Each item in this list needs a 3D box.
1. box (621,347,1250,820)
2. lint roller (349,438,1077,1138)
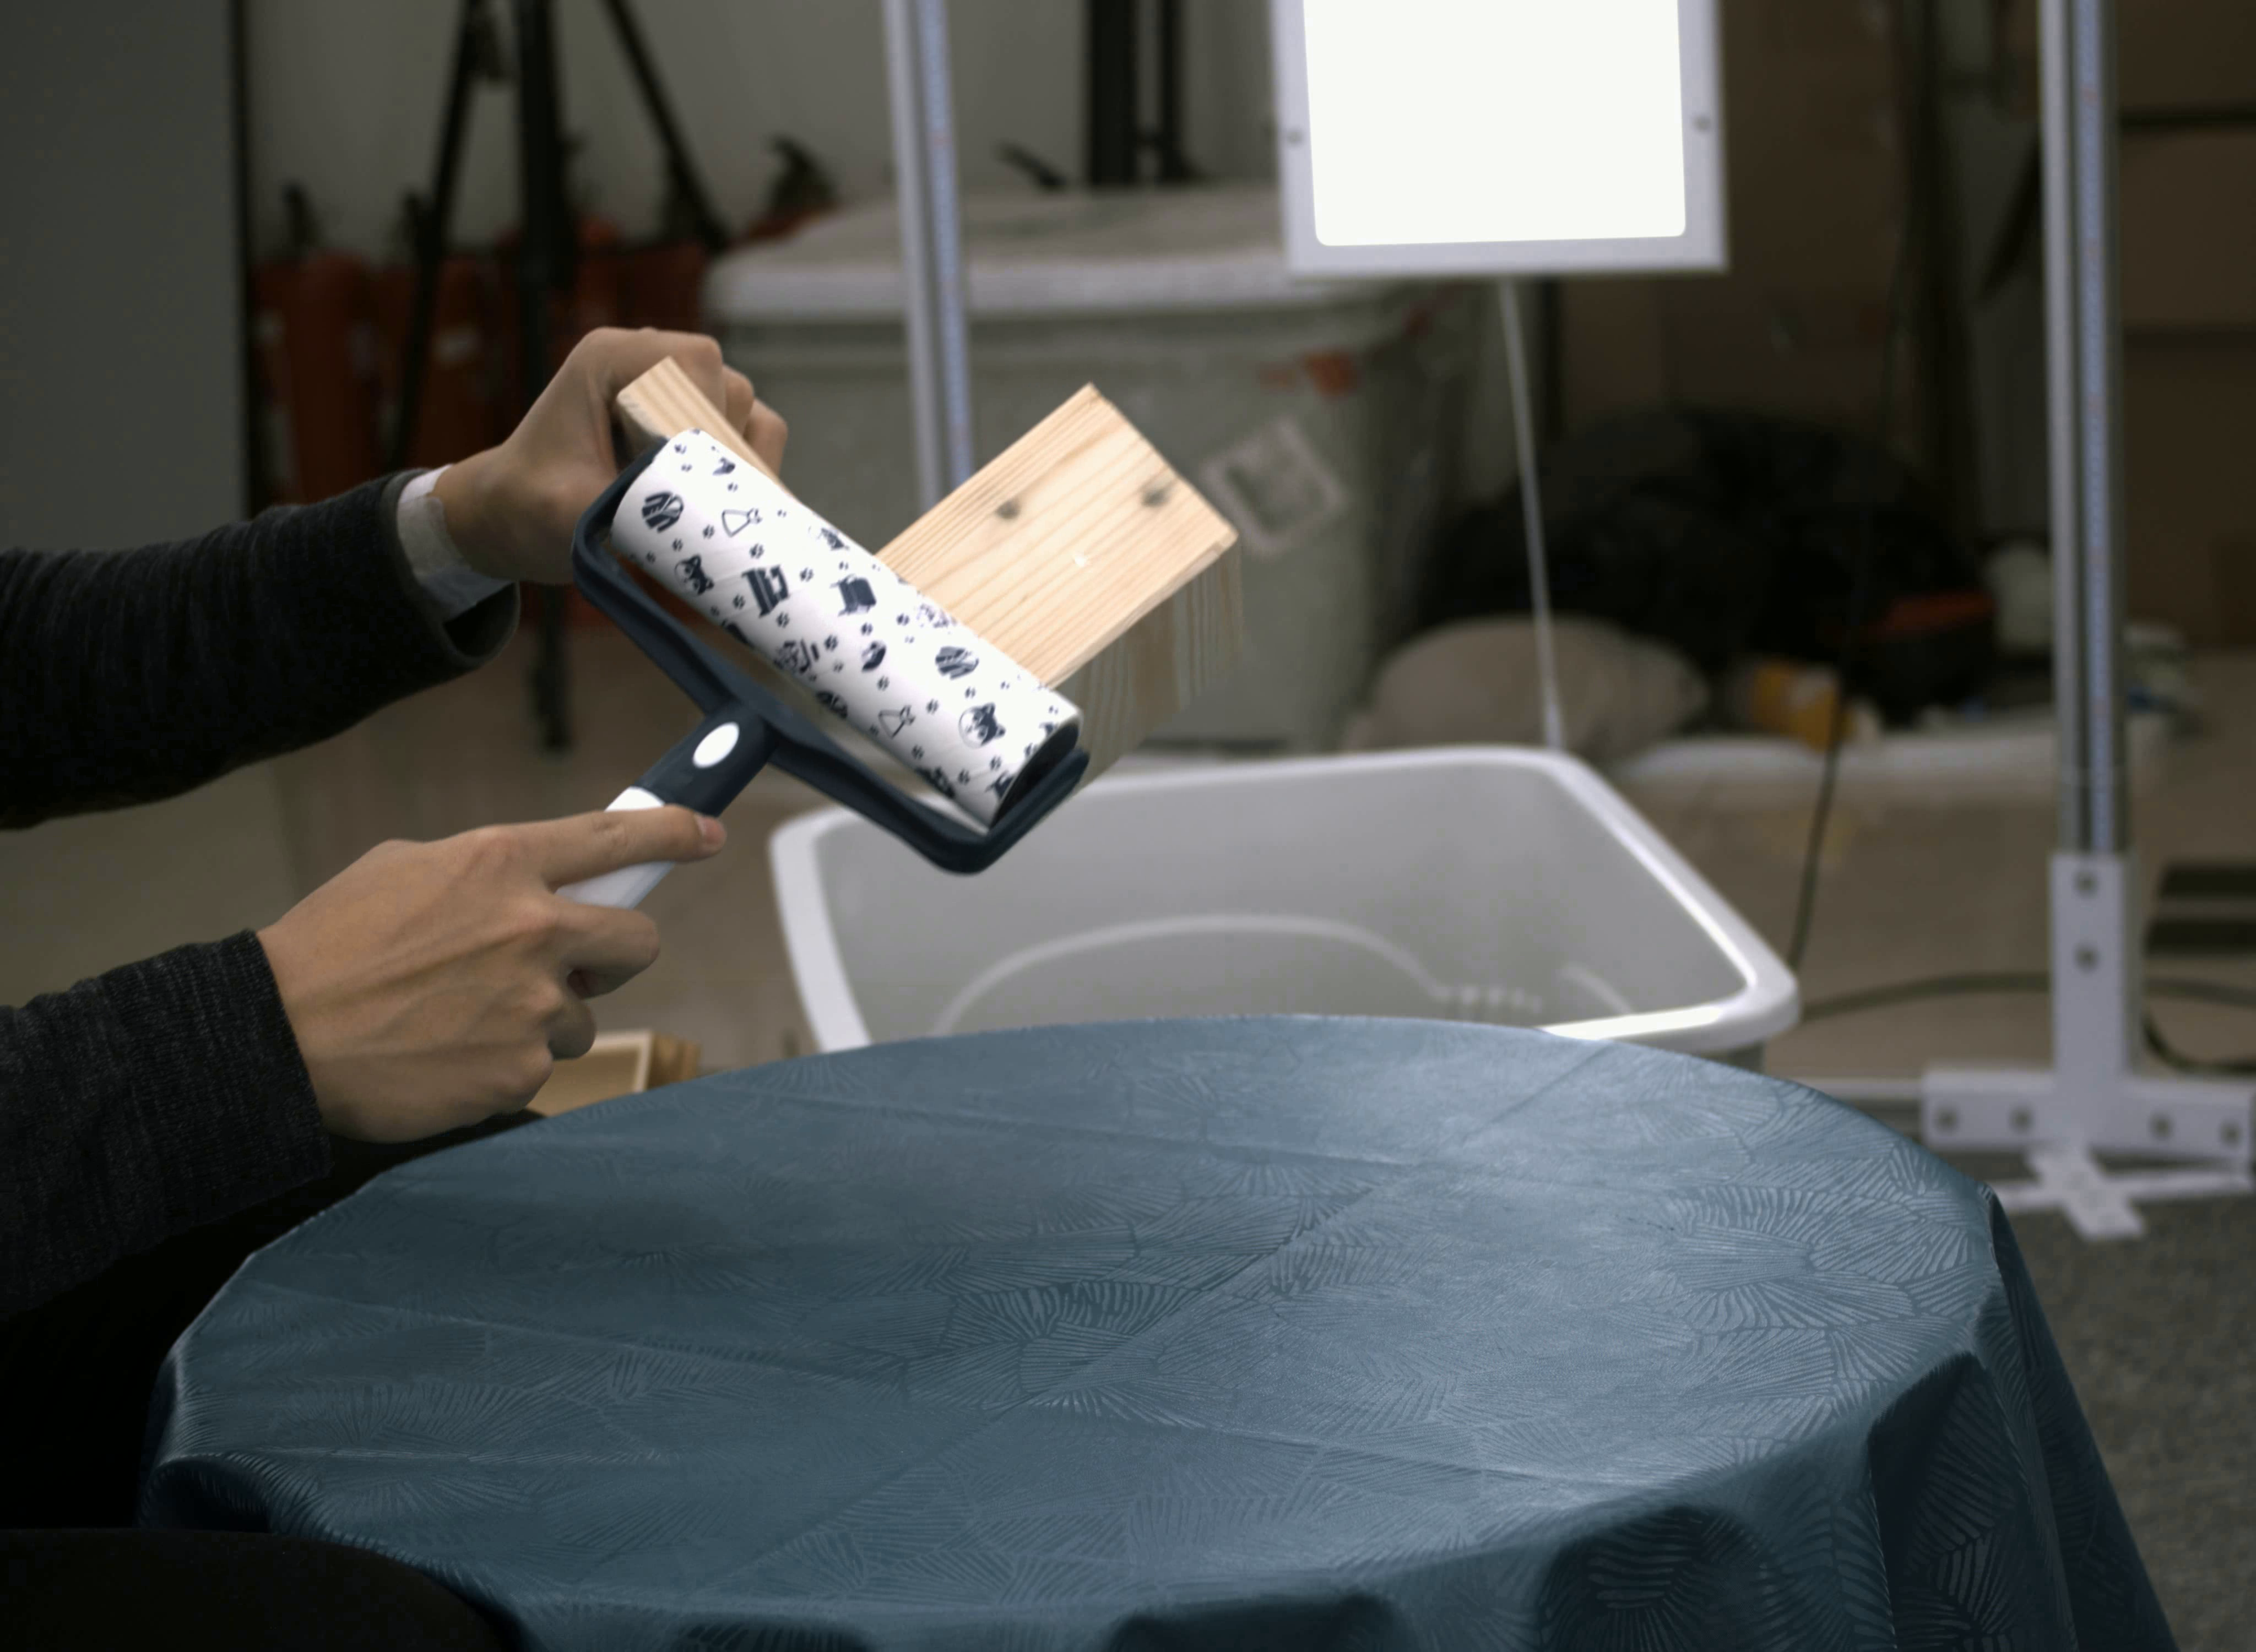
[{"bbox_3d":[-0.064,-0.108,1.880,0.133,0.186,0.102,-40,-19,-12],"label":"box"},{"bbox_3d":[-0.153,0.005,1.718,0.177,0.051,0.243,37,63,13],"label":"lint roller"}]
